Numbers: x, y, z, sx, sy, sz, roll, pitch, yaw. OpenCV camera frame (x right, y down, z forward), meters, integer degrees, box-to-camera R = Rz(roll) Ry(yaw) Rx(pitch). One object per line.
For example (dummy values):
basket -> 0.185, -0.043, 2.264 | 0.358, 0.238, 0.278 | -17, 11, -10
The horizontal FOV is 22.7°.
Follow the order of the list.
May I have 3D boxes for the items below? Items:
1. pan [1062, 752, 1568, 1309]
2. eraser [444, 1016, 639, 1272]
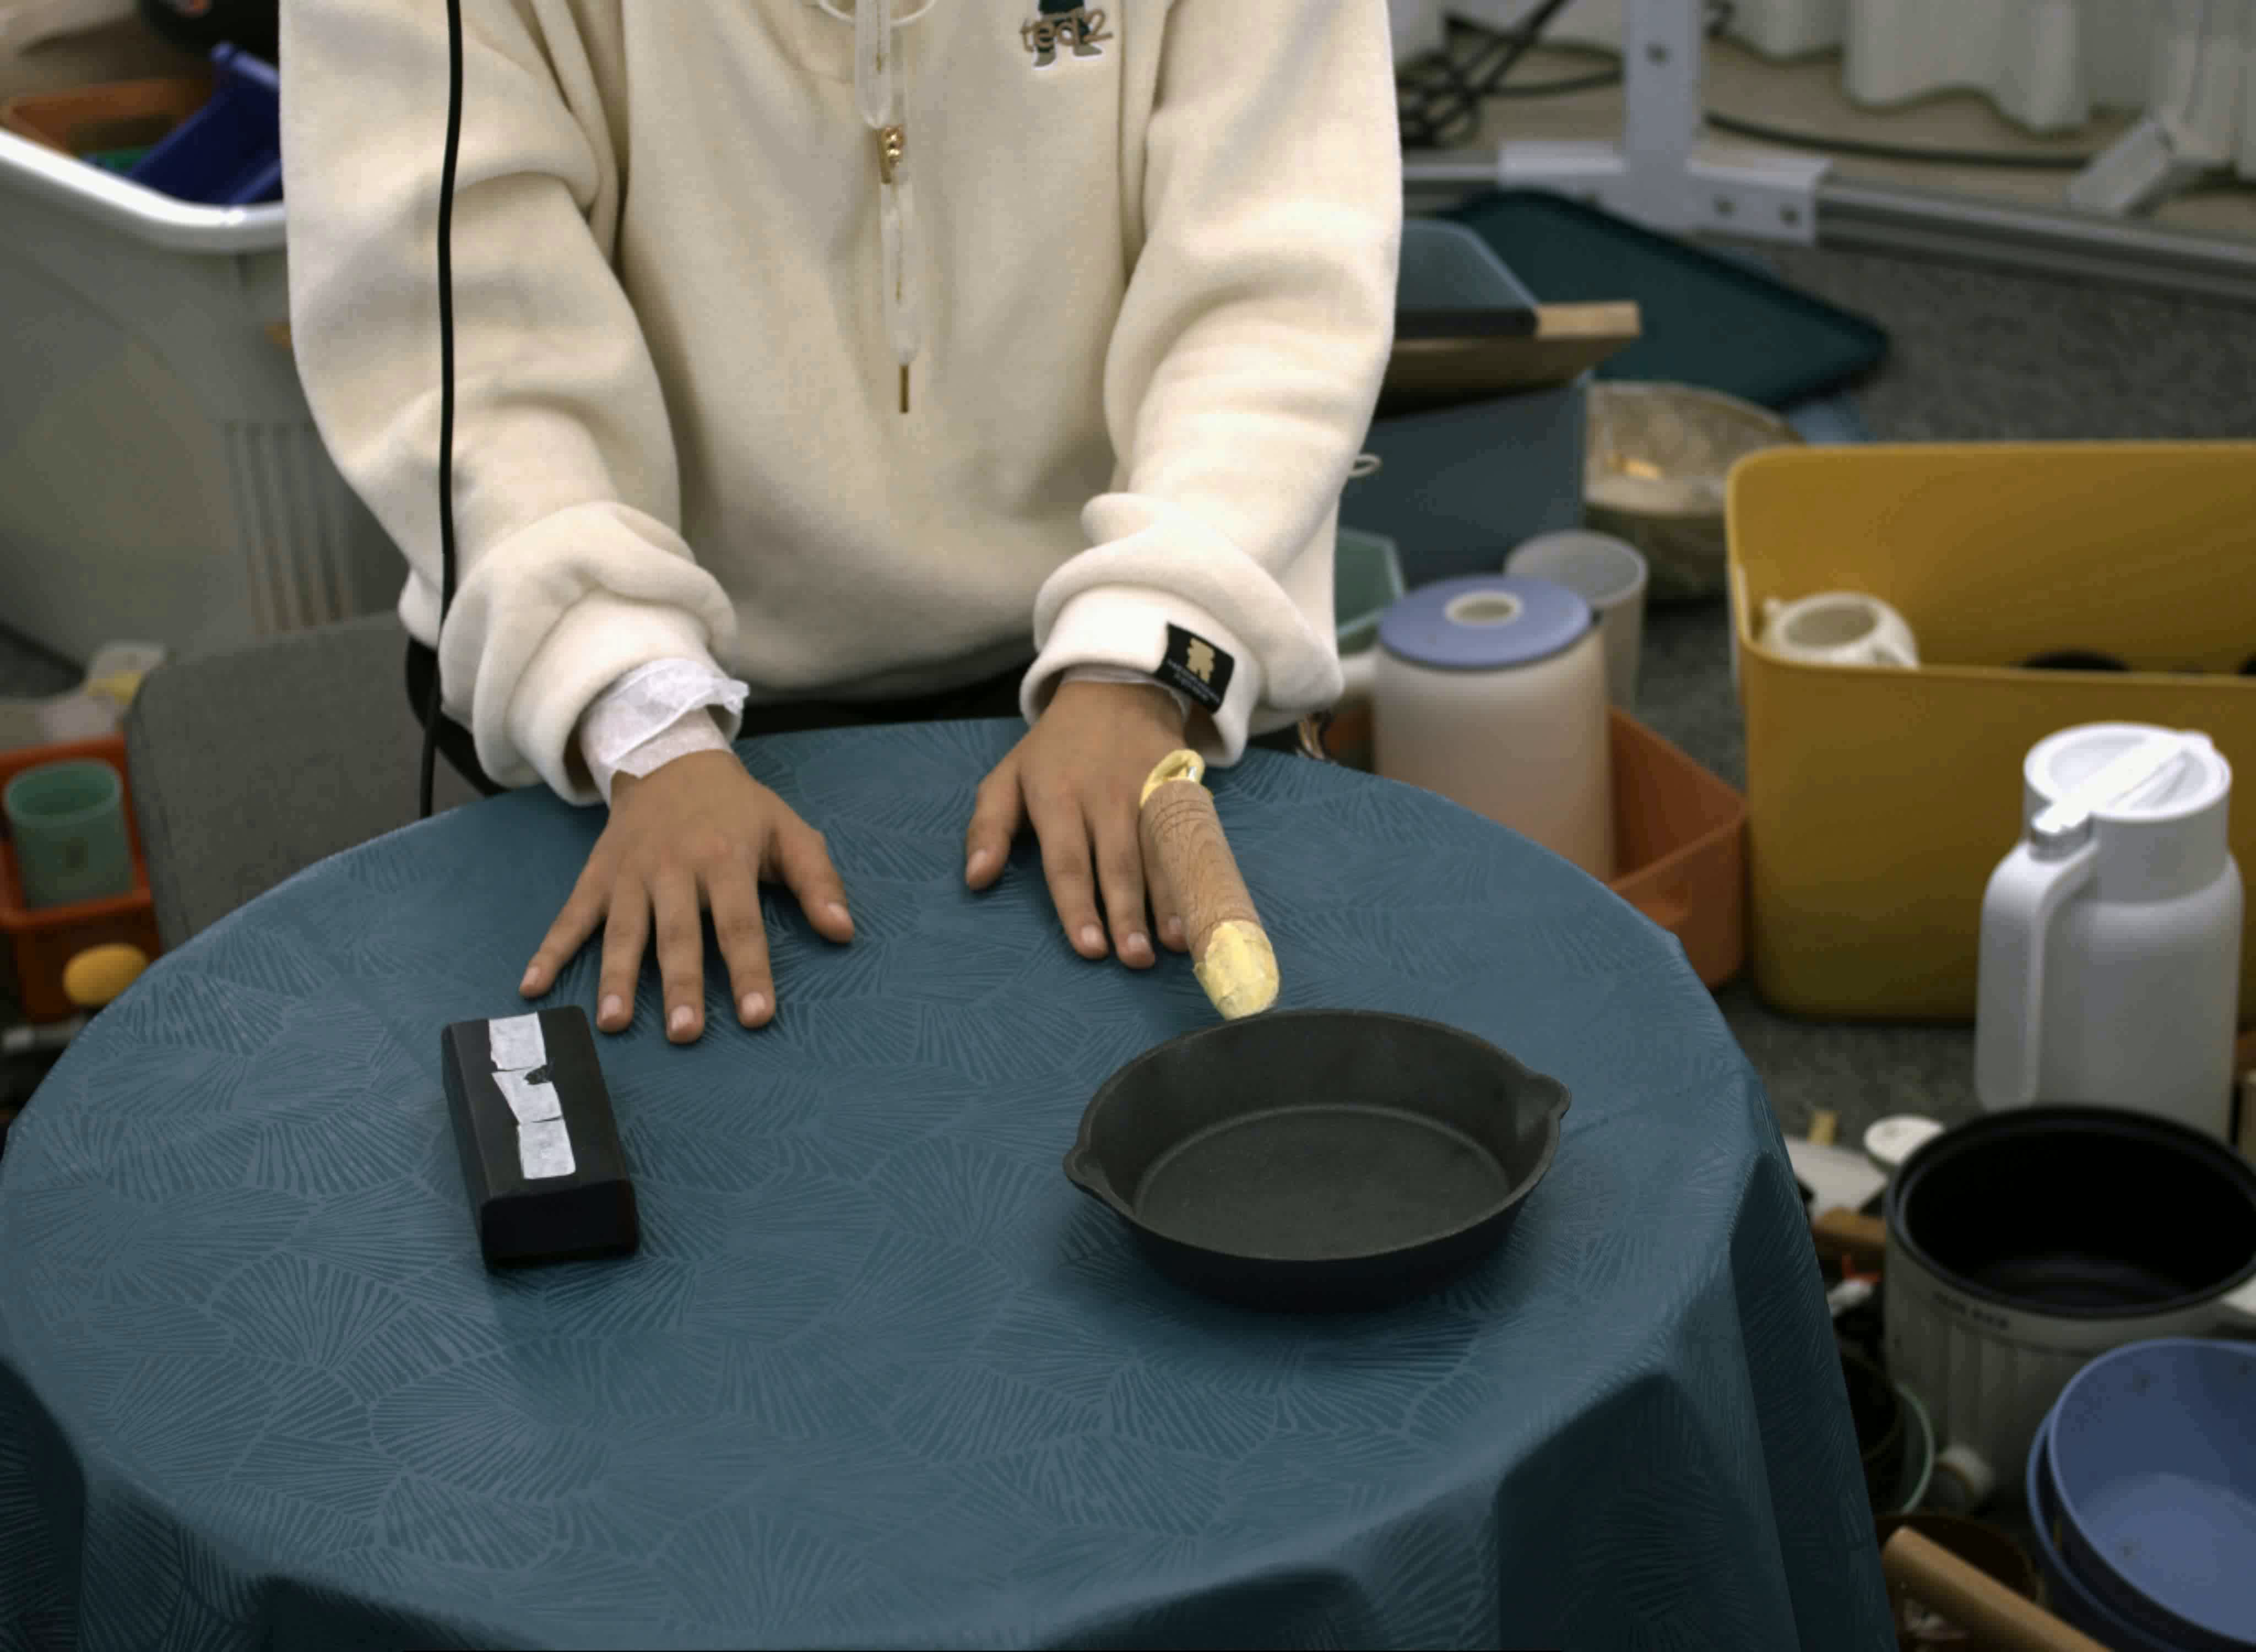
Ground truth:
pan -> 0.047, 0.066, 1.908 | 0.168, 0.049, 0.328 | -8, 28, -7
eraser -> -0.196, 0.106, 1.882 | 0.053, 0.030, 0.127 | -7, 26, -9
